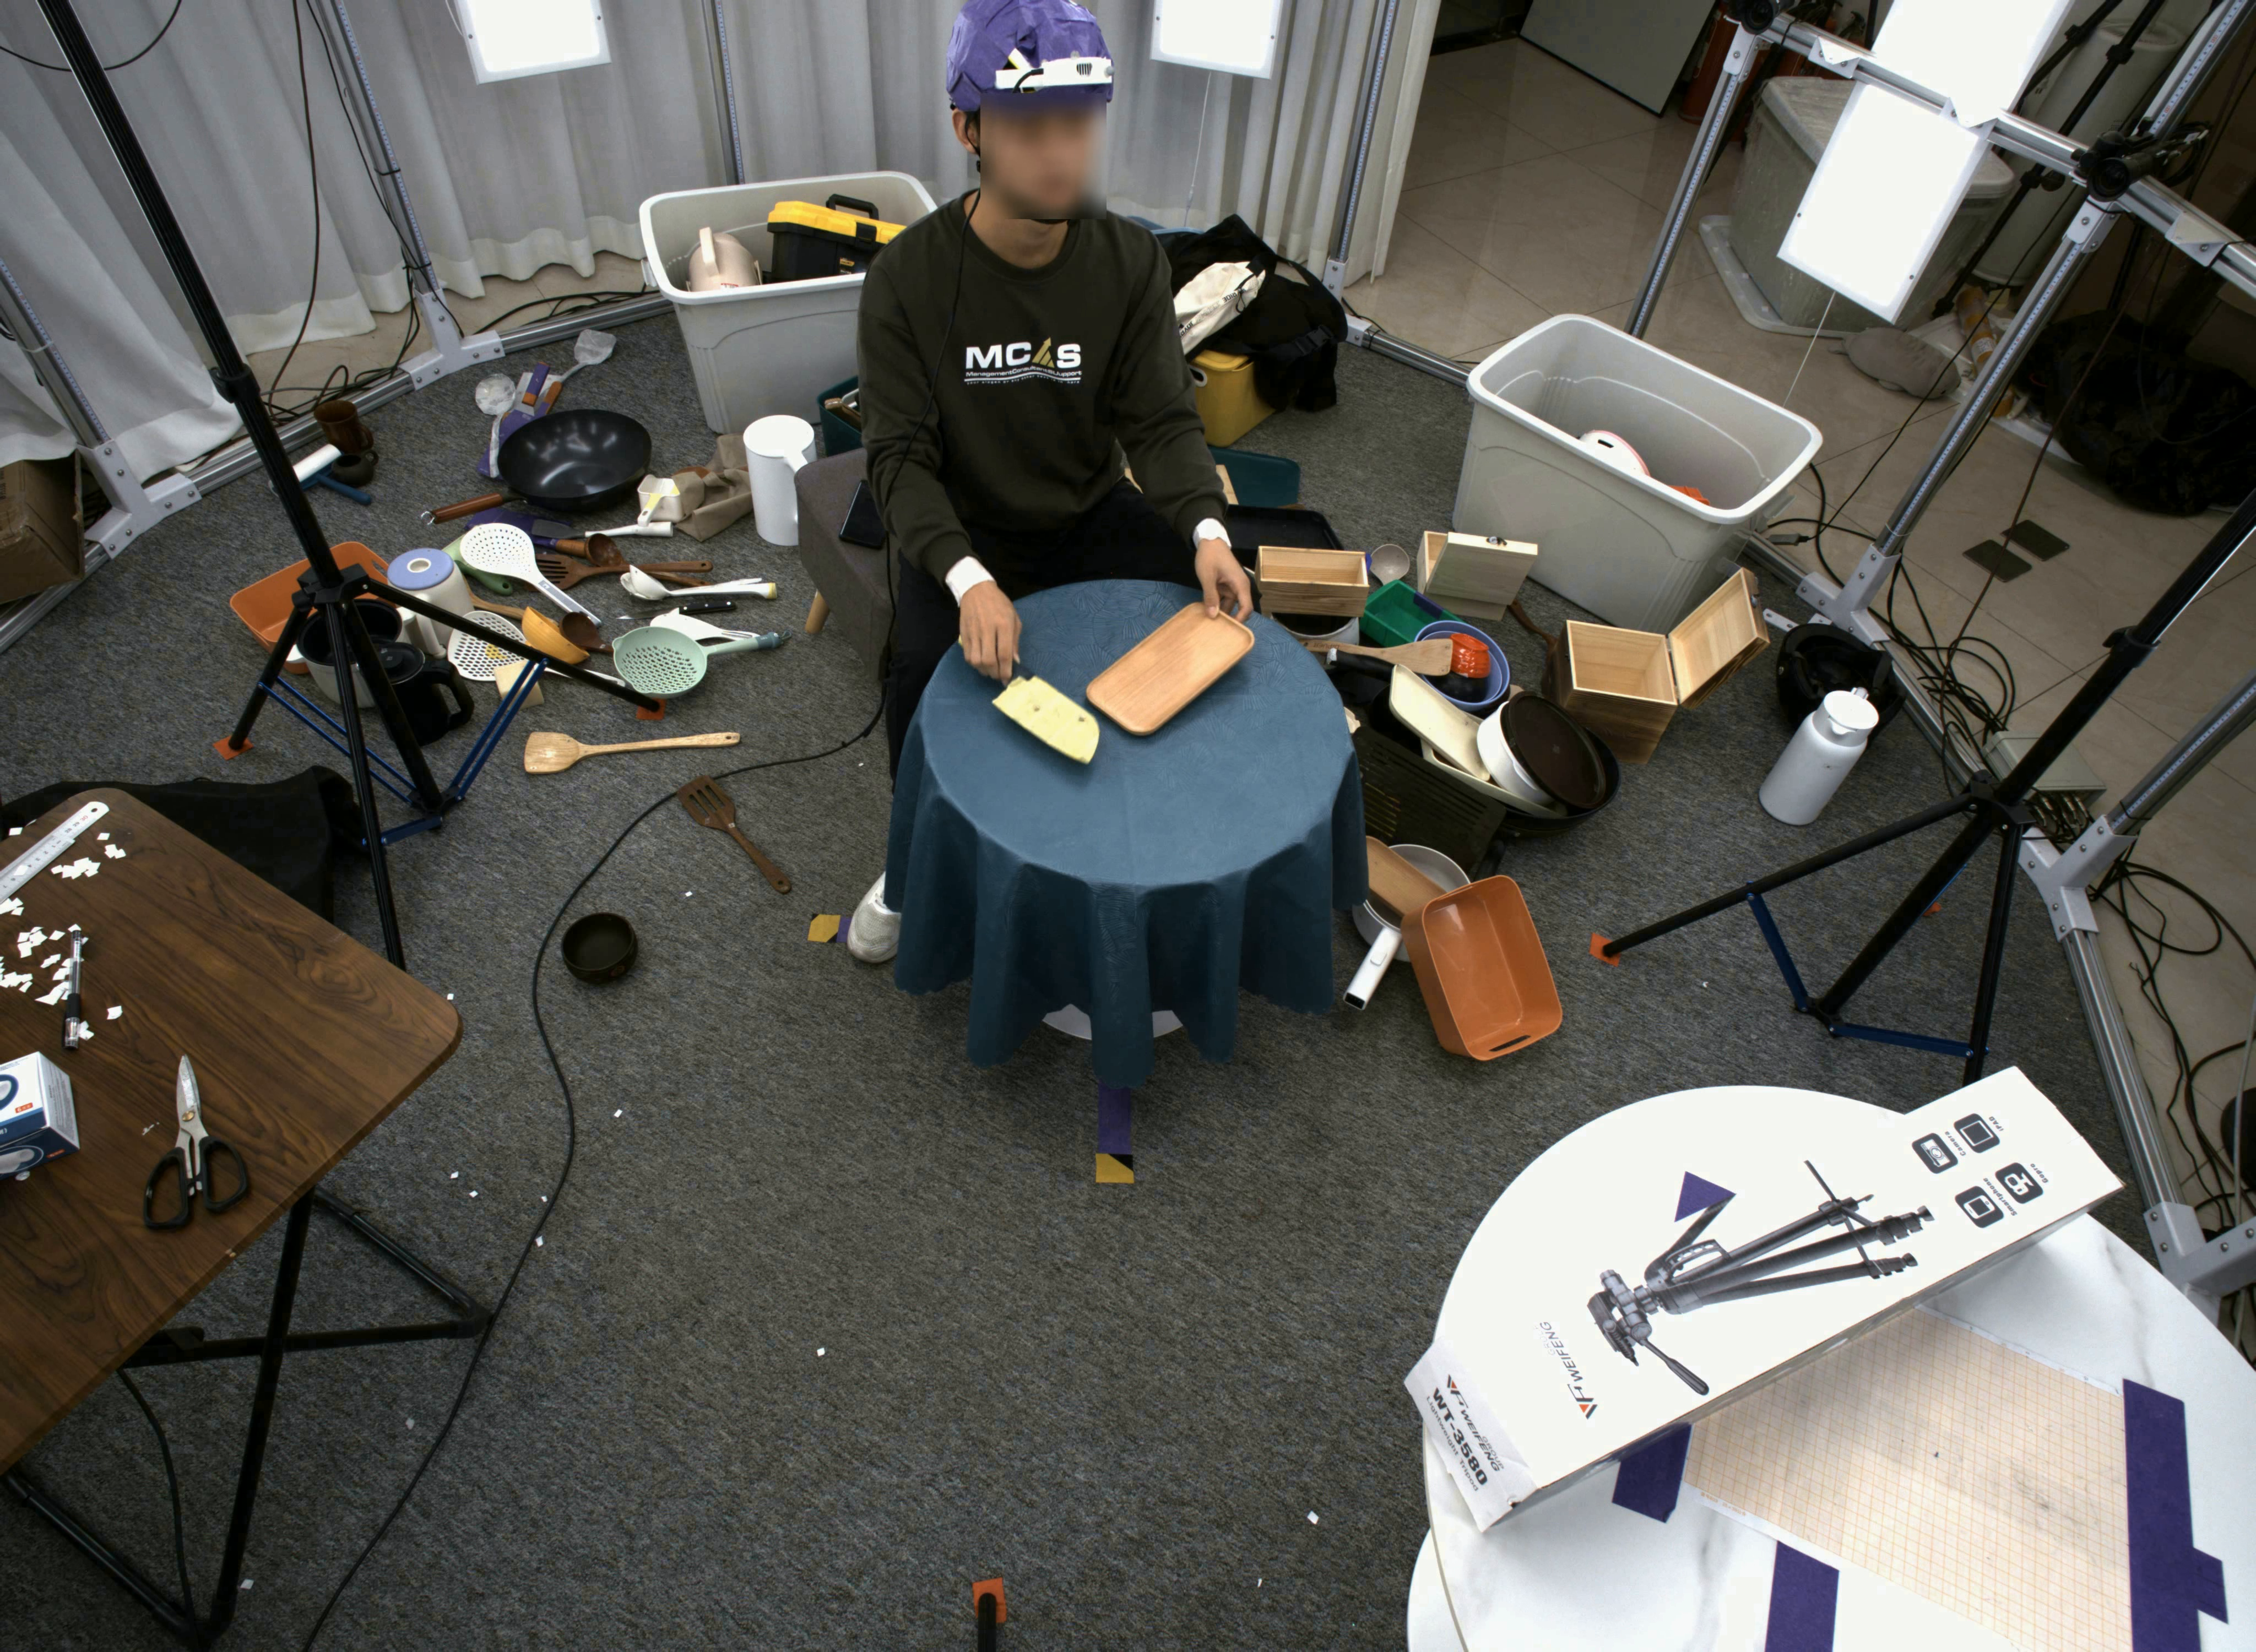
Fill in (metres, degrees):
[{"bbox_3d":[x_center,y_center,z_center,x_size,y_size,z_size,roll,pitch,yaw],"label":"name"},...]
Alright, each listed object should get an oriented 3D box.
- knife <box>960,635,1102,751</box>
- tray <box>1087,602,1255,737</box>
[{"bbox_3d":[-0.142,-0.184,1.773,0.082,0.026,0.294,-40,59,-22],"label":"knife"},{"bbox_3d":[0.063,-0.226,1.833,0.132,0.022,0.253,36,65,29],"label":"tray"}]
